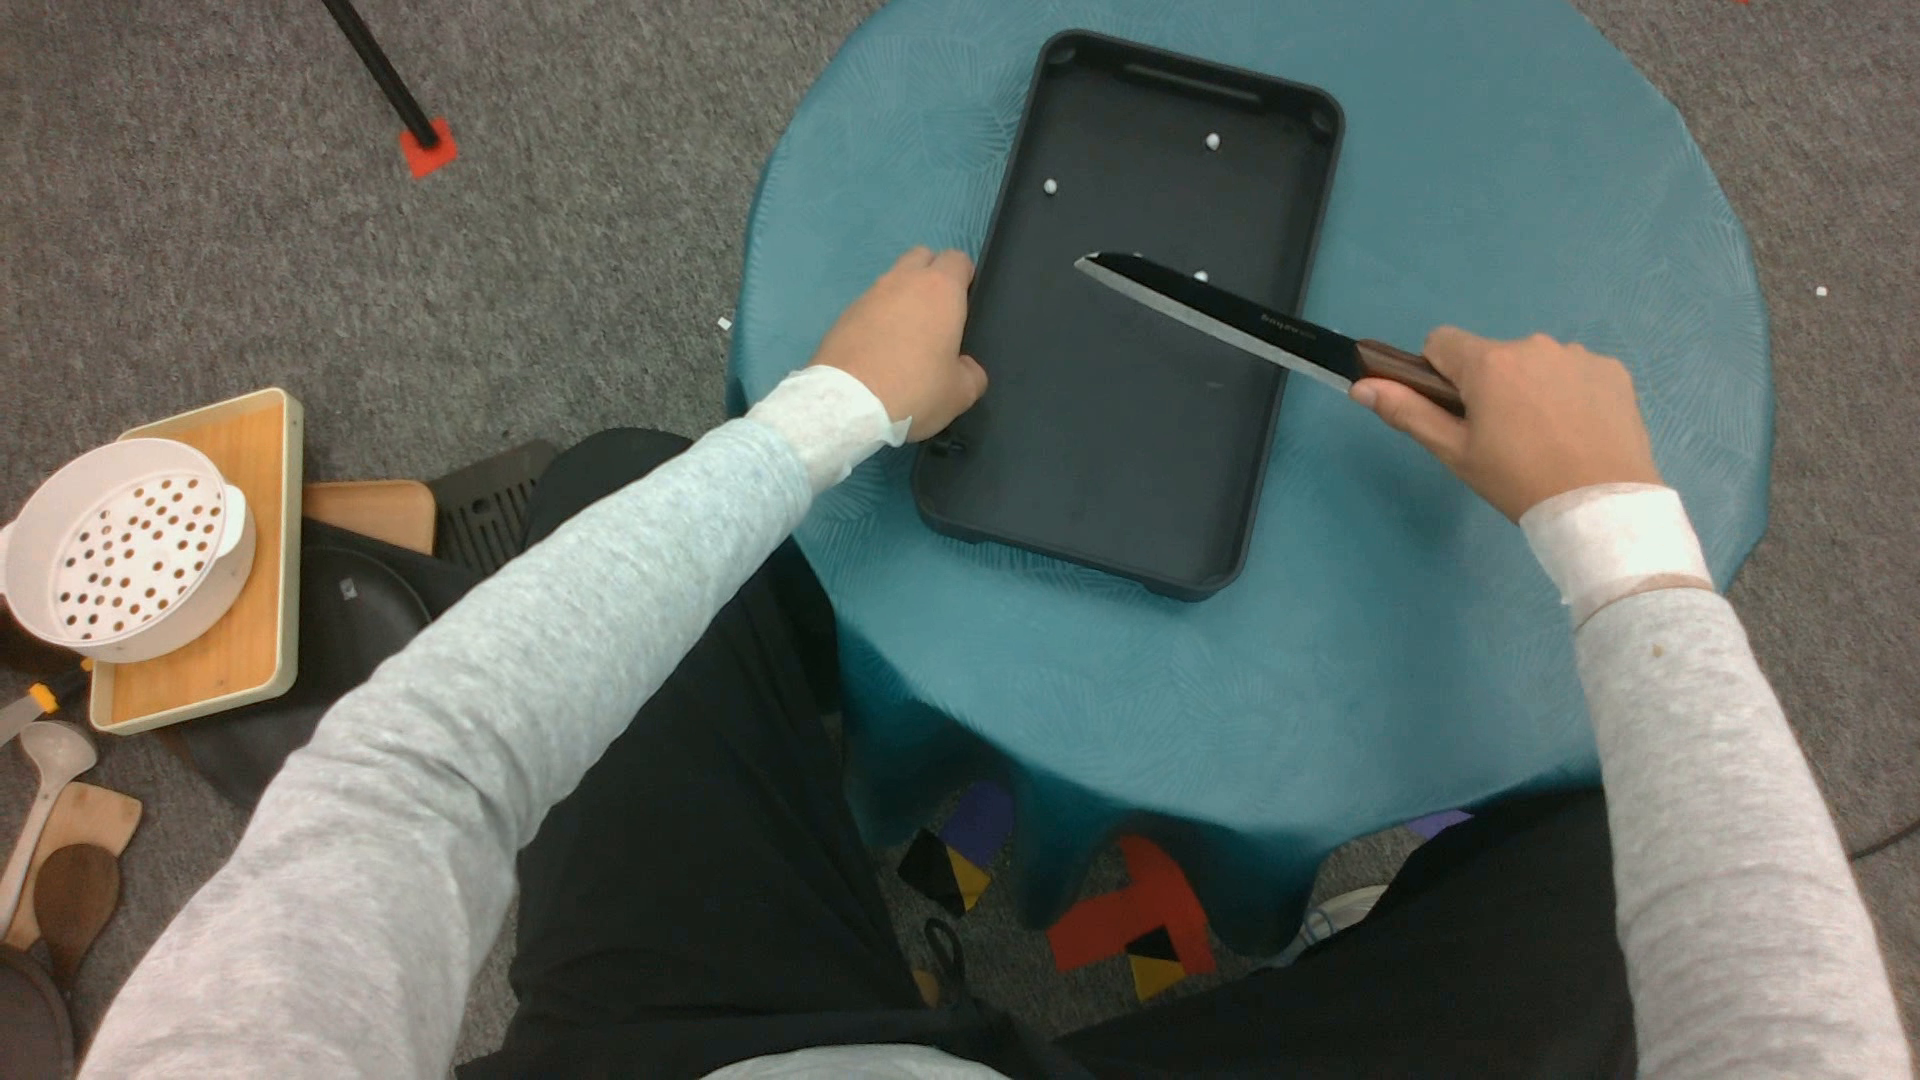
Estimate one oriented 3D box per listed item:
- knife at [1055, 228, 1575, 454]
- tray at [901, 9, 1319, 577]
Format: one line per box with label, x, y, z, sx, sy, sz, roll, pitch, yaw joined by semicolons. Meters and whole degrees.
knife;0.178;-0.109;0.728;0.289;0.050;0.020;25;64;17
tray;0.089;-0.145;0.780;0.184;0.037;0.319;13;73;2
